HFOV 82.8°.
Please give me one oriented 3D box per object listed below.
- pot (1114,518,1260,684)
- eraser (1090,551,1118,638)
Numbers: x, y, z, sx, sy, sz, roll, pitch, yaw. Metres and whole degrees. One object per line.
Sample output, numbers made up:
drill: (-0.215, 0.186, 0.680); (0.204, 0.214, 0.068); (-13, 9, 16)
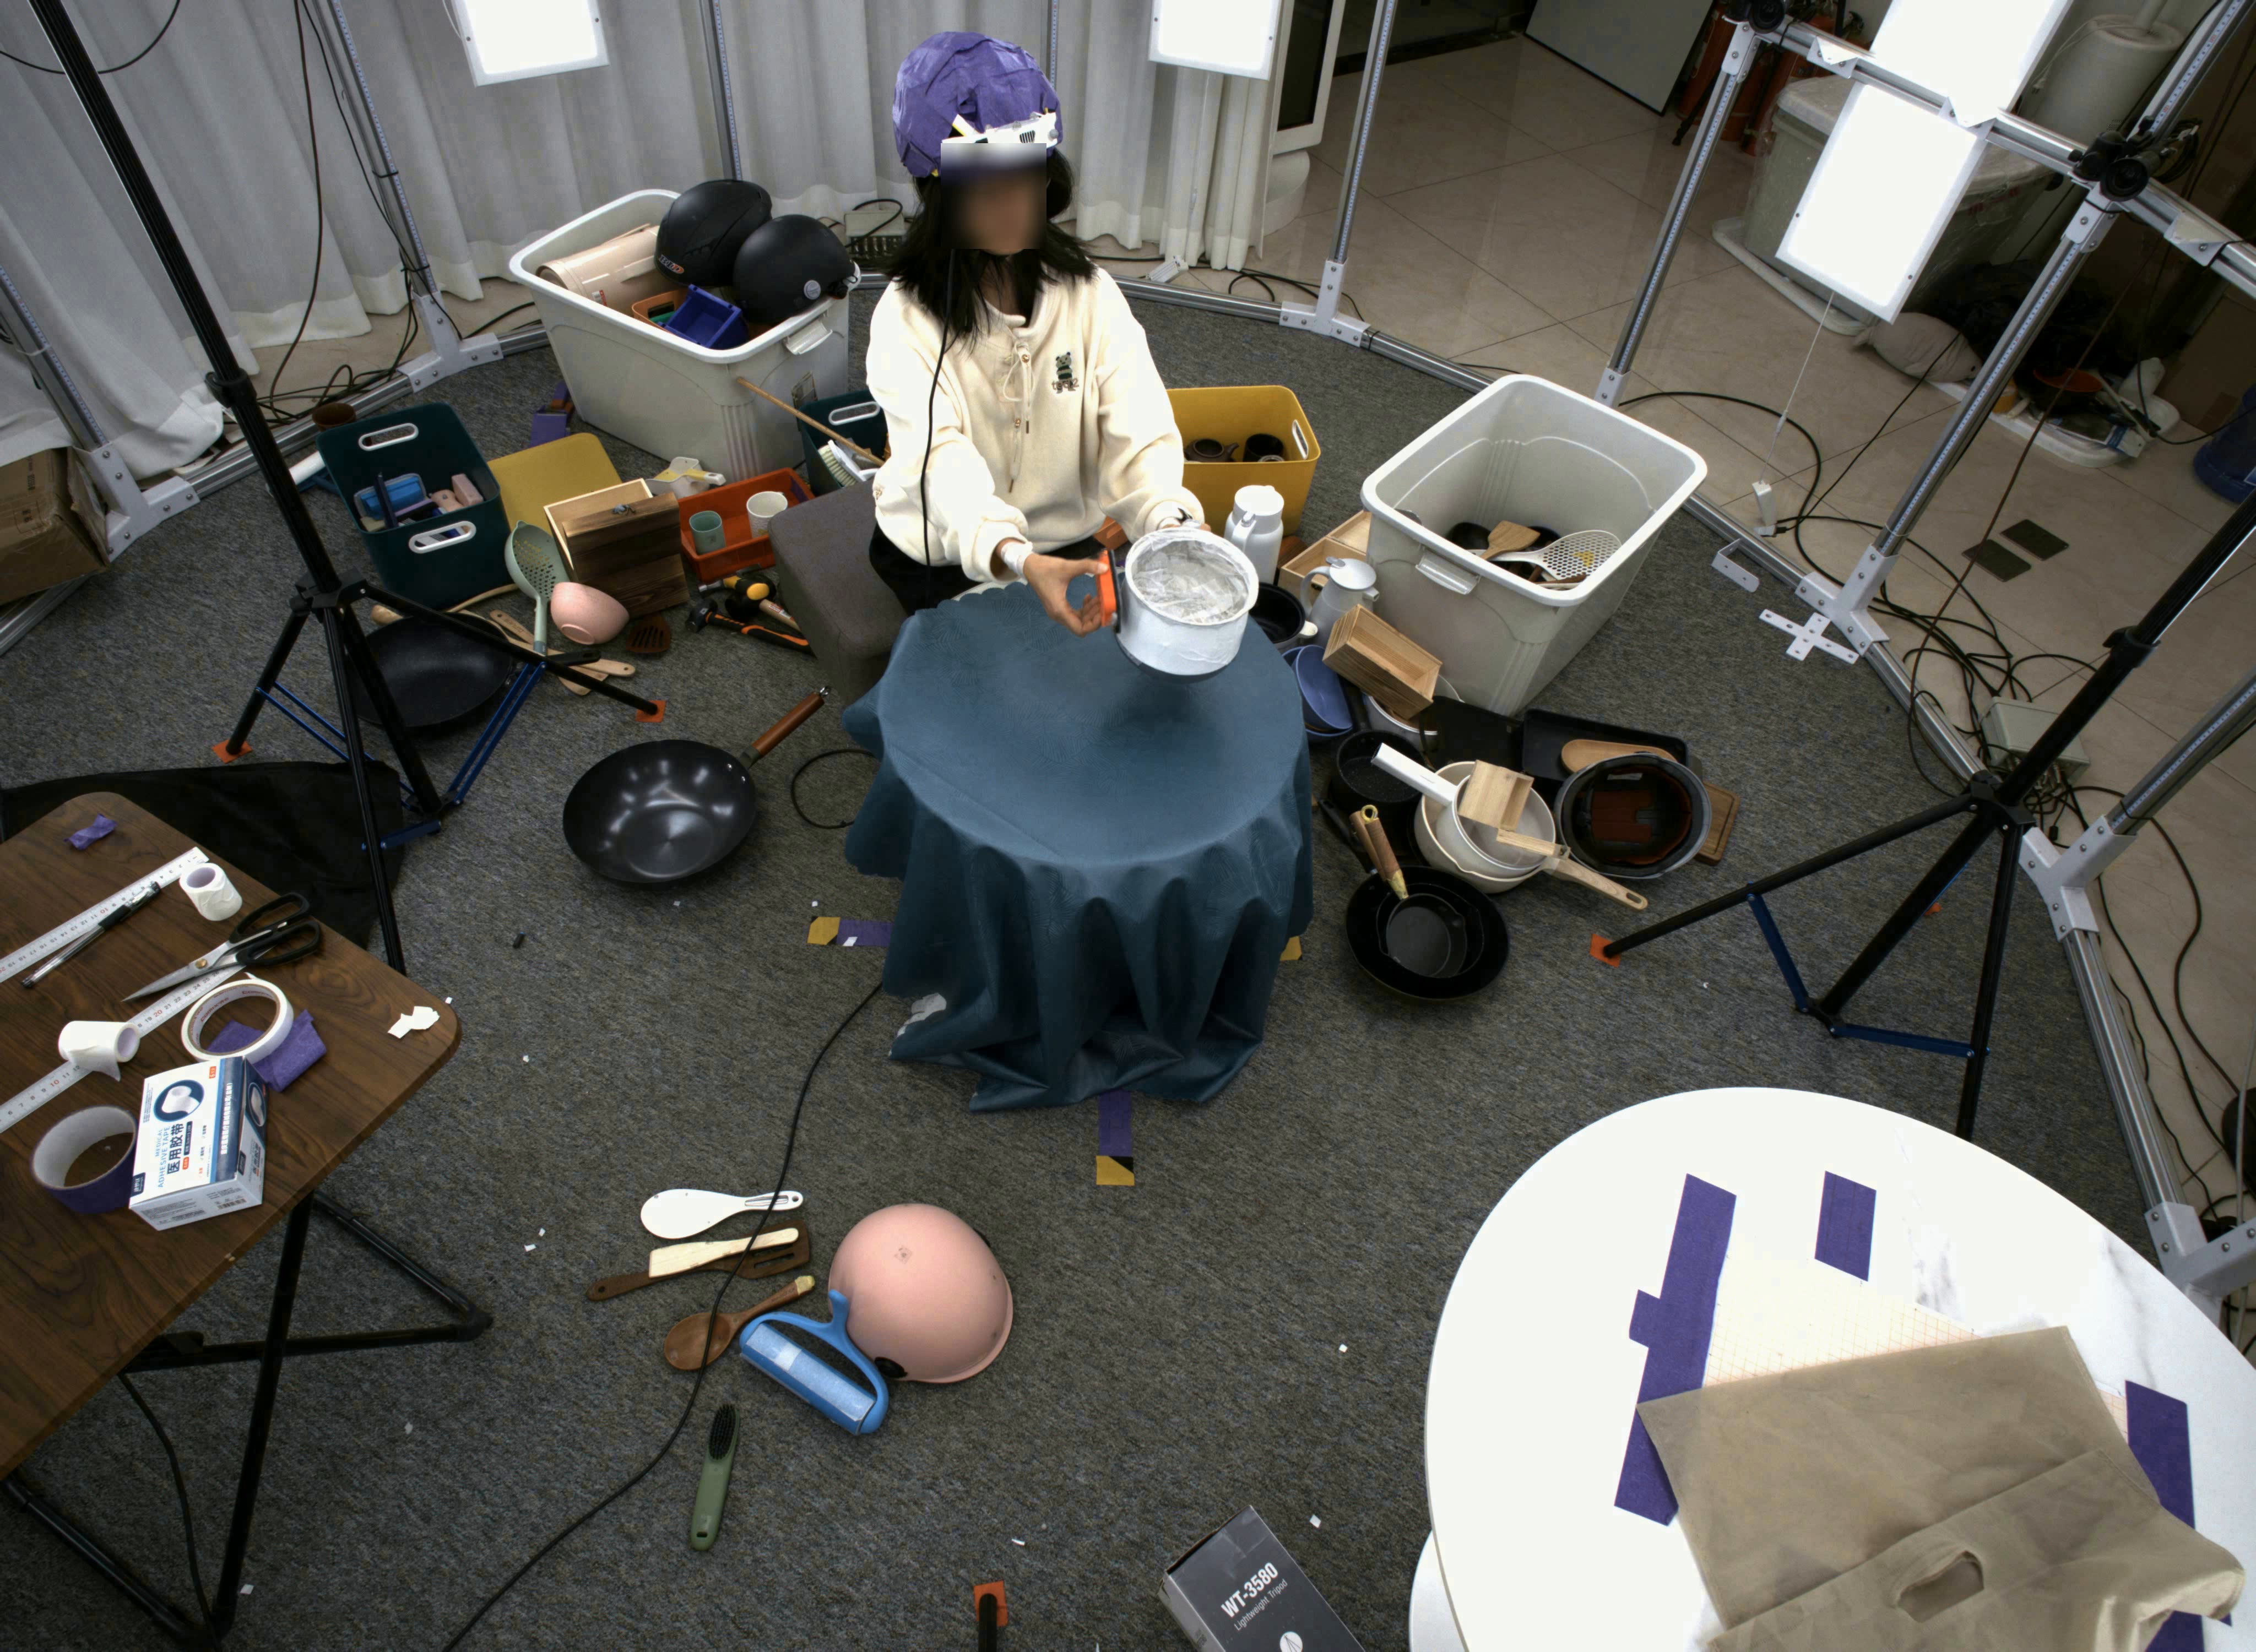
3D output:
pot: (0.073, -0.311, 1.722); (0.178, 0.134, 0.239); (7, 54, -8)
eraser: (-0.032, -0.300, 1.666); (0.023, 0.057, 0.110); (-7, 56, -3)
